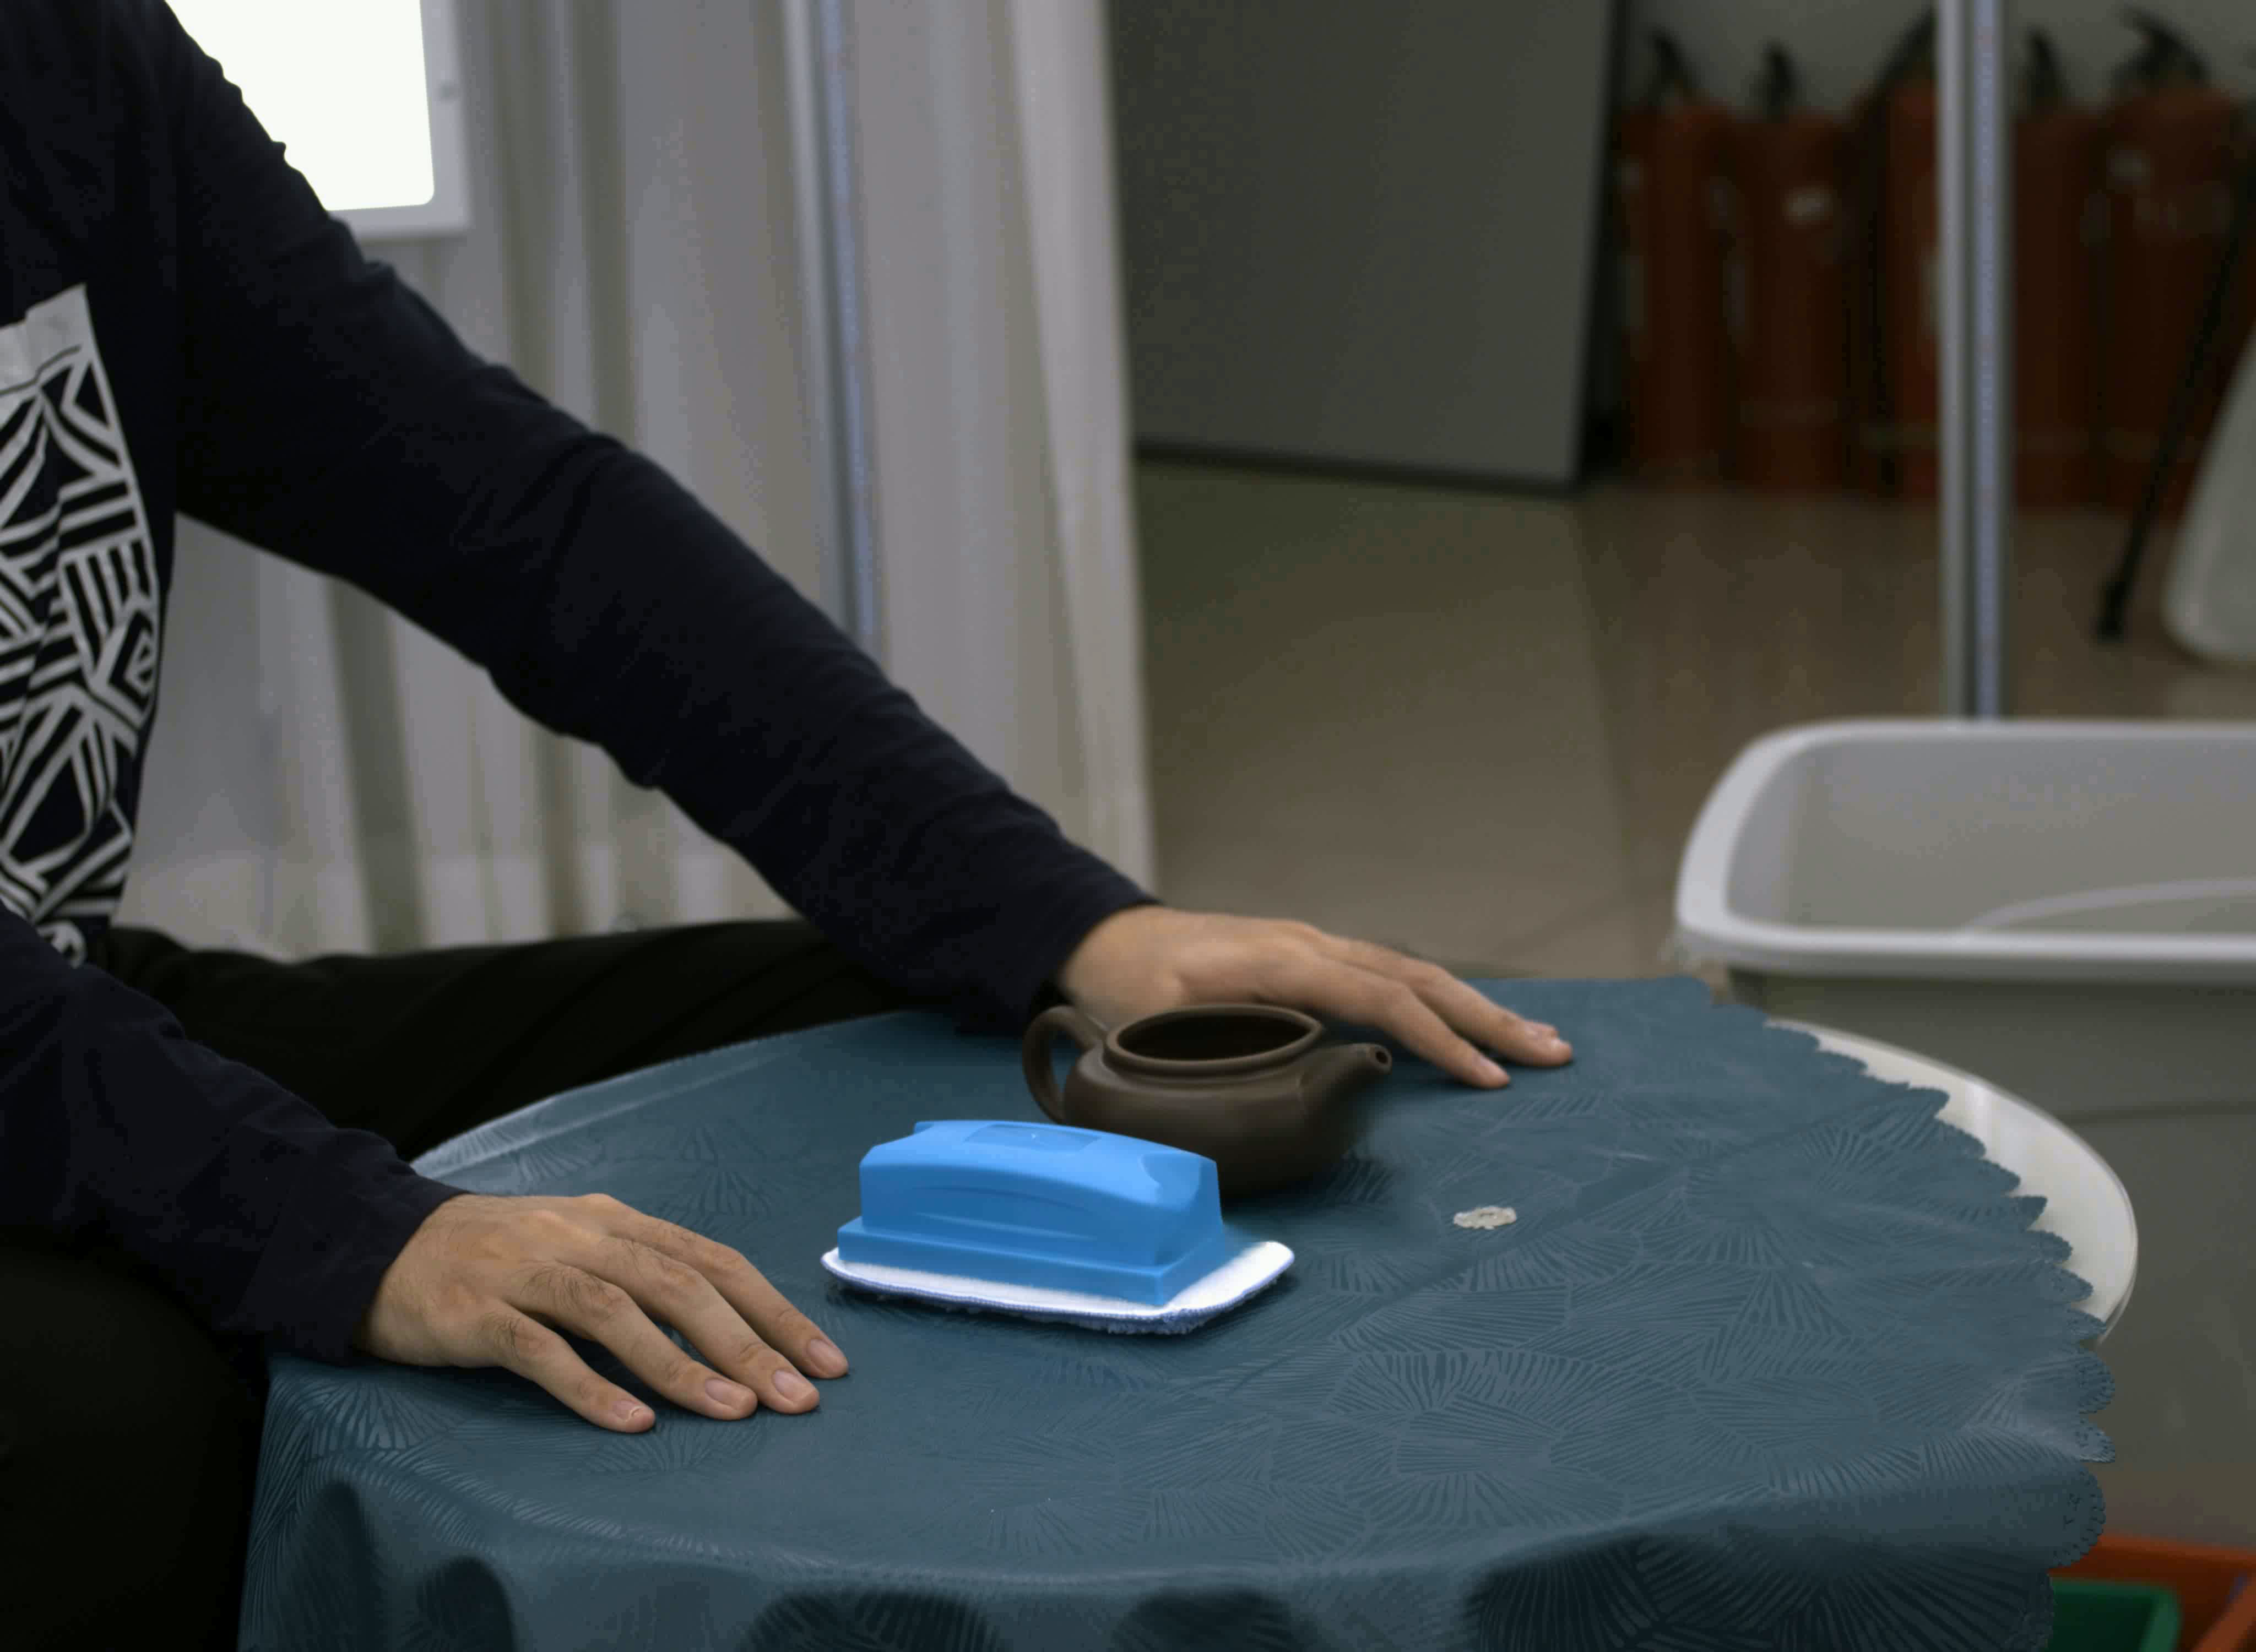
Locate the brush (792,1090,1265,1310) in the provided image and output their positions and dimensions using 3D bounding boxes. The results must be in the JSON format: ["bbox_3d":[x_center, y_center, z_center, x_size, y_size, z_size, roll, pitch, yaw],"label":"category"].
[{"bbox_3d":[-0.031,0.115,1.681,0.145,0.056,0.082,8,15,34],"label":"brush"}]

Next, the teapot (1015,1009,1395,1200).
[{"bbox_3d":[0.025,0.090,1.785,0.154,0.054,0.101,5,15,34],"label":"teapot"}]
